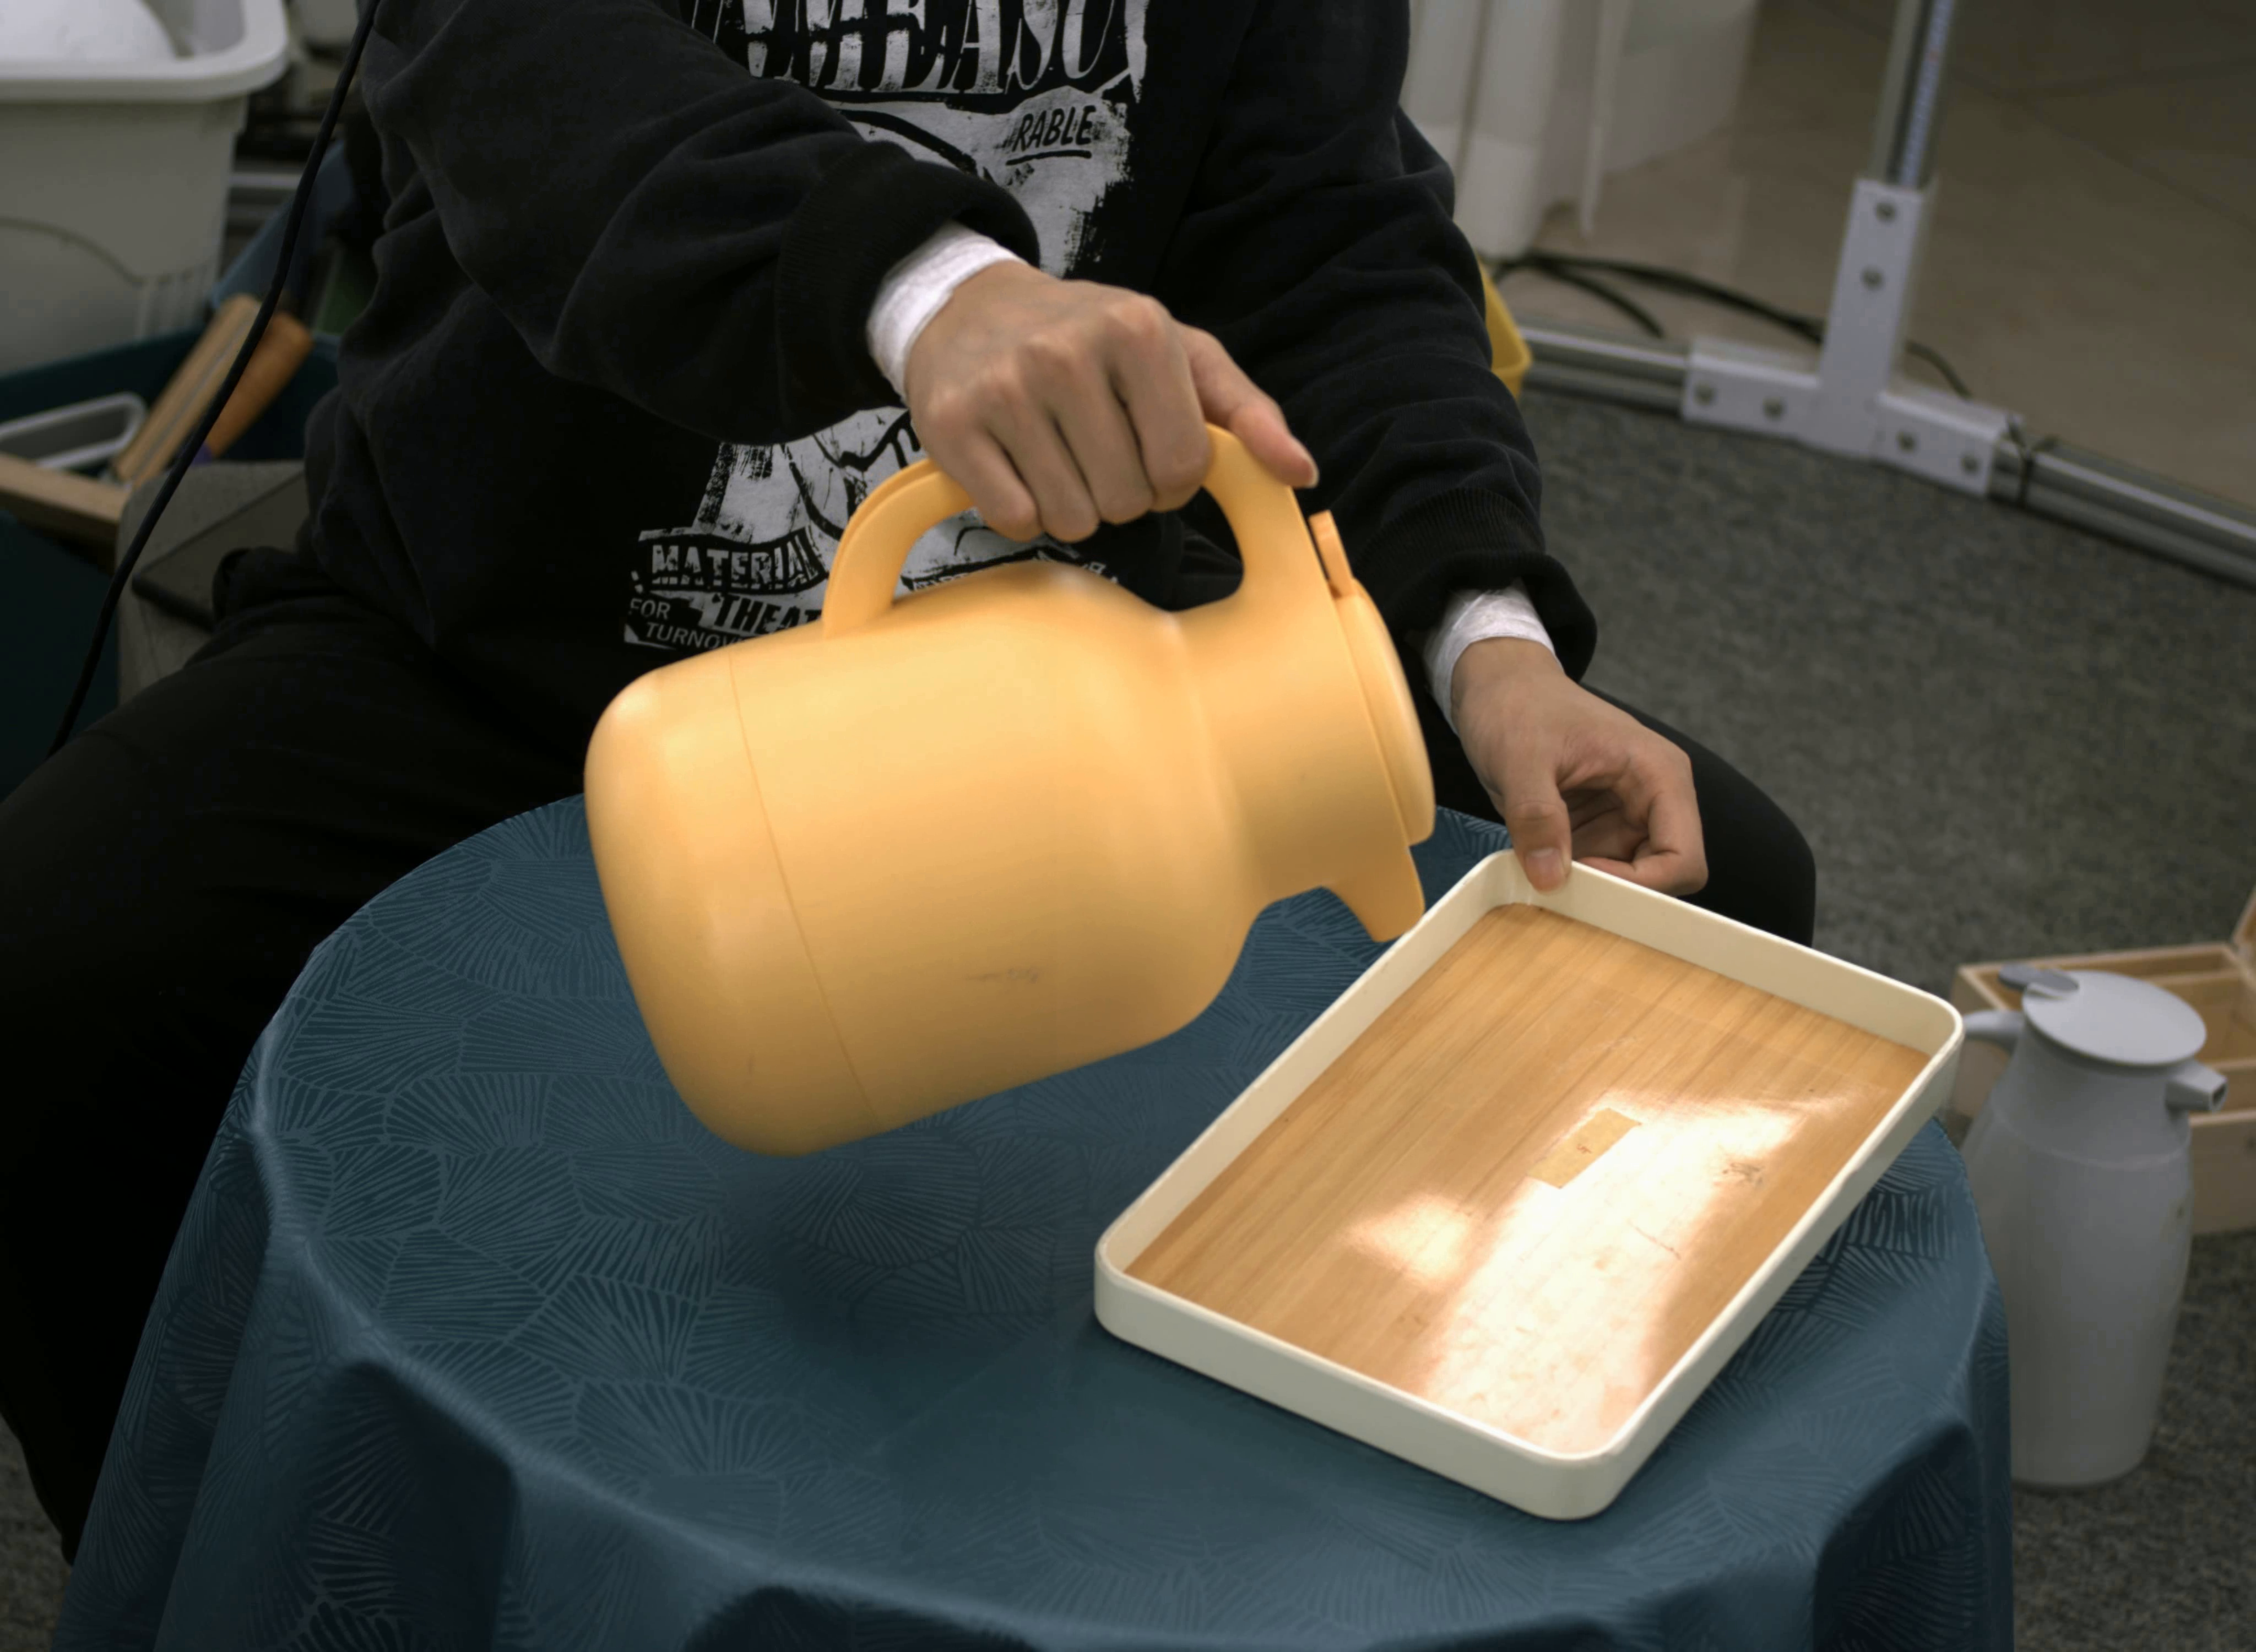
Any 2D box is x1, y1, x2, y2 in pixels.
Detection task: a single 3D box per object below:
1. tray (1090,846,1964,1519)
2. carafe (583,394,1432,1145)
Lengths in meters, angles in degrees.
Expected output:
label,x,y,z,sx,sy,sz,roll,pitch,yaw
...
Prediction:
label,x,y,z,sx,sy,sz,roll,pitch,yaw
tray,0.138,0.112,1.787,0.192,0.027,0.300,21,38,25
carafe,-0.040,-0.022,1.689,0.260,0.202,0.164,-16,13,0
